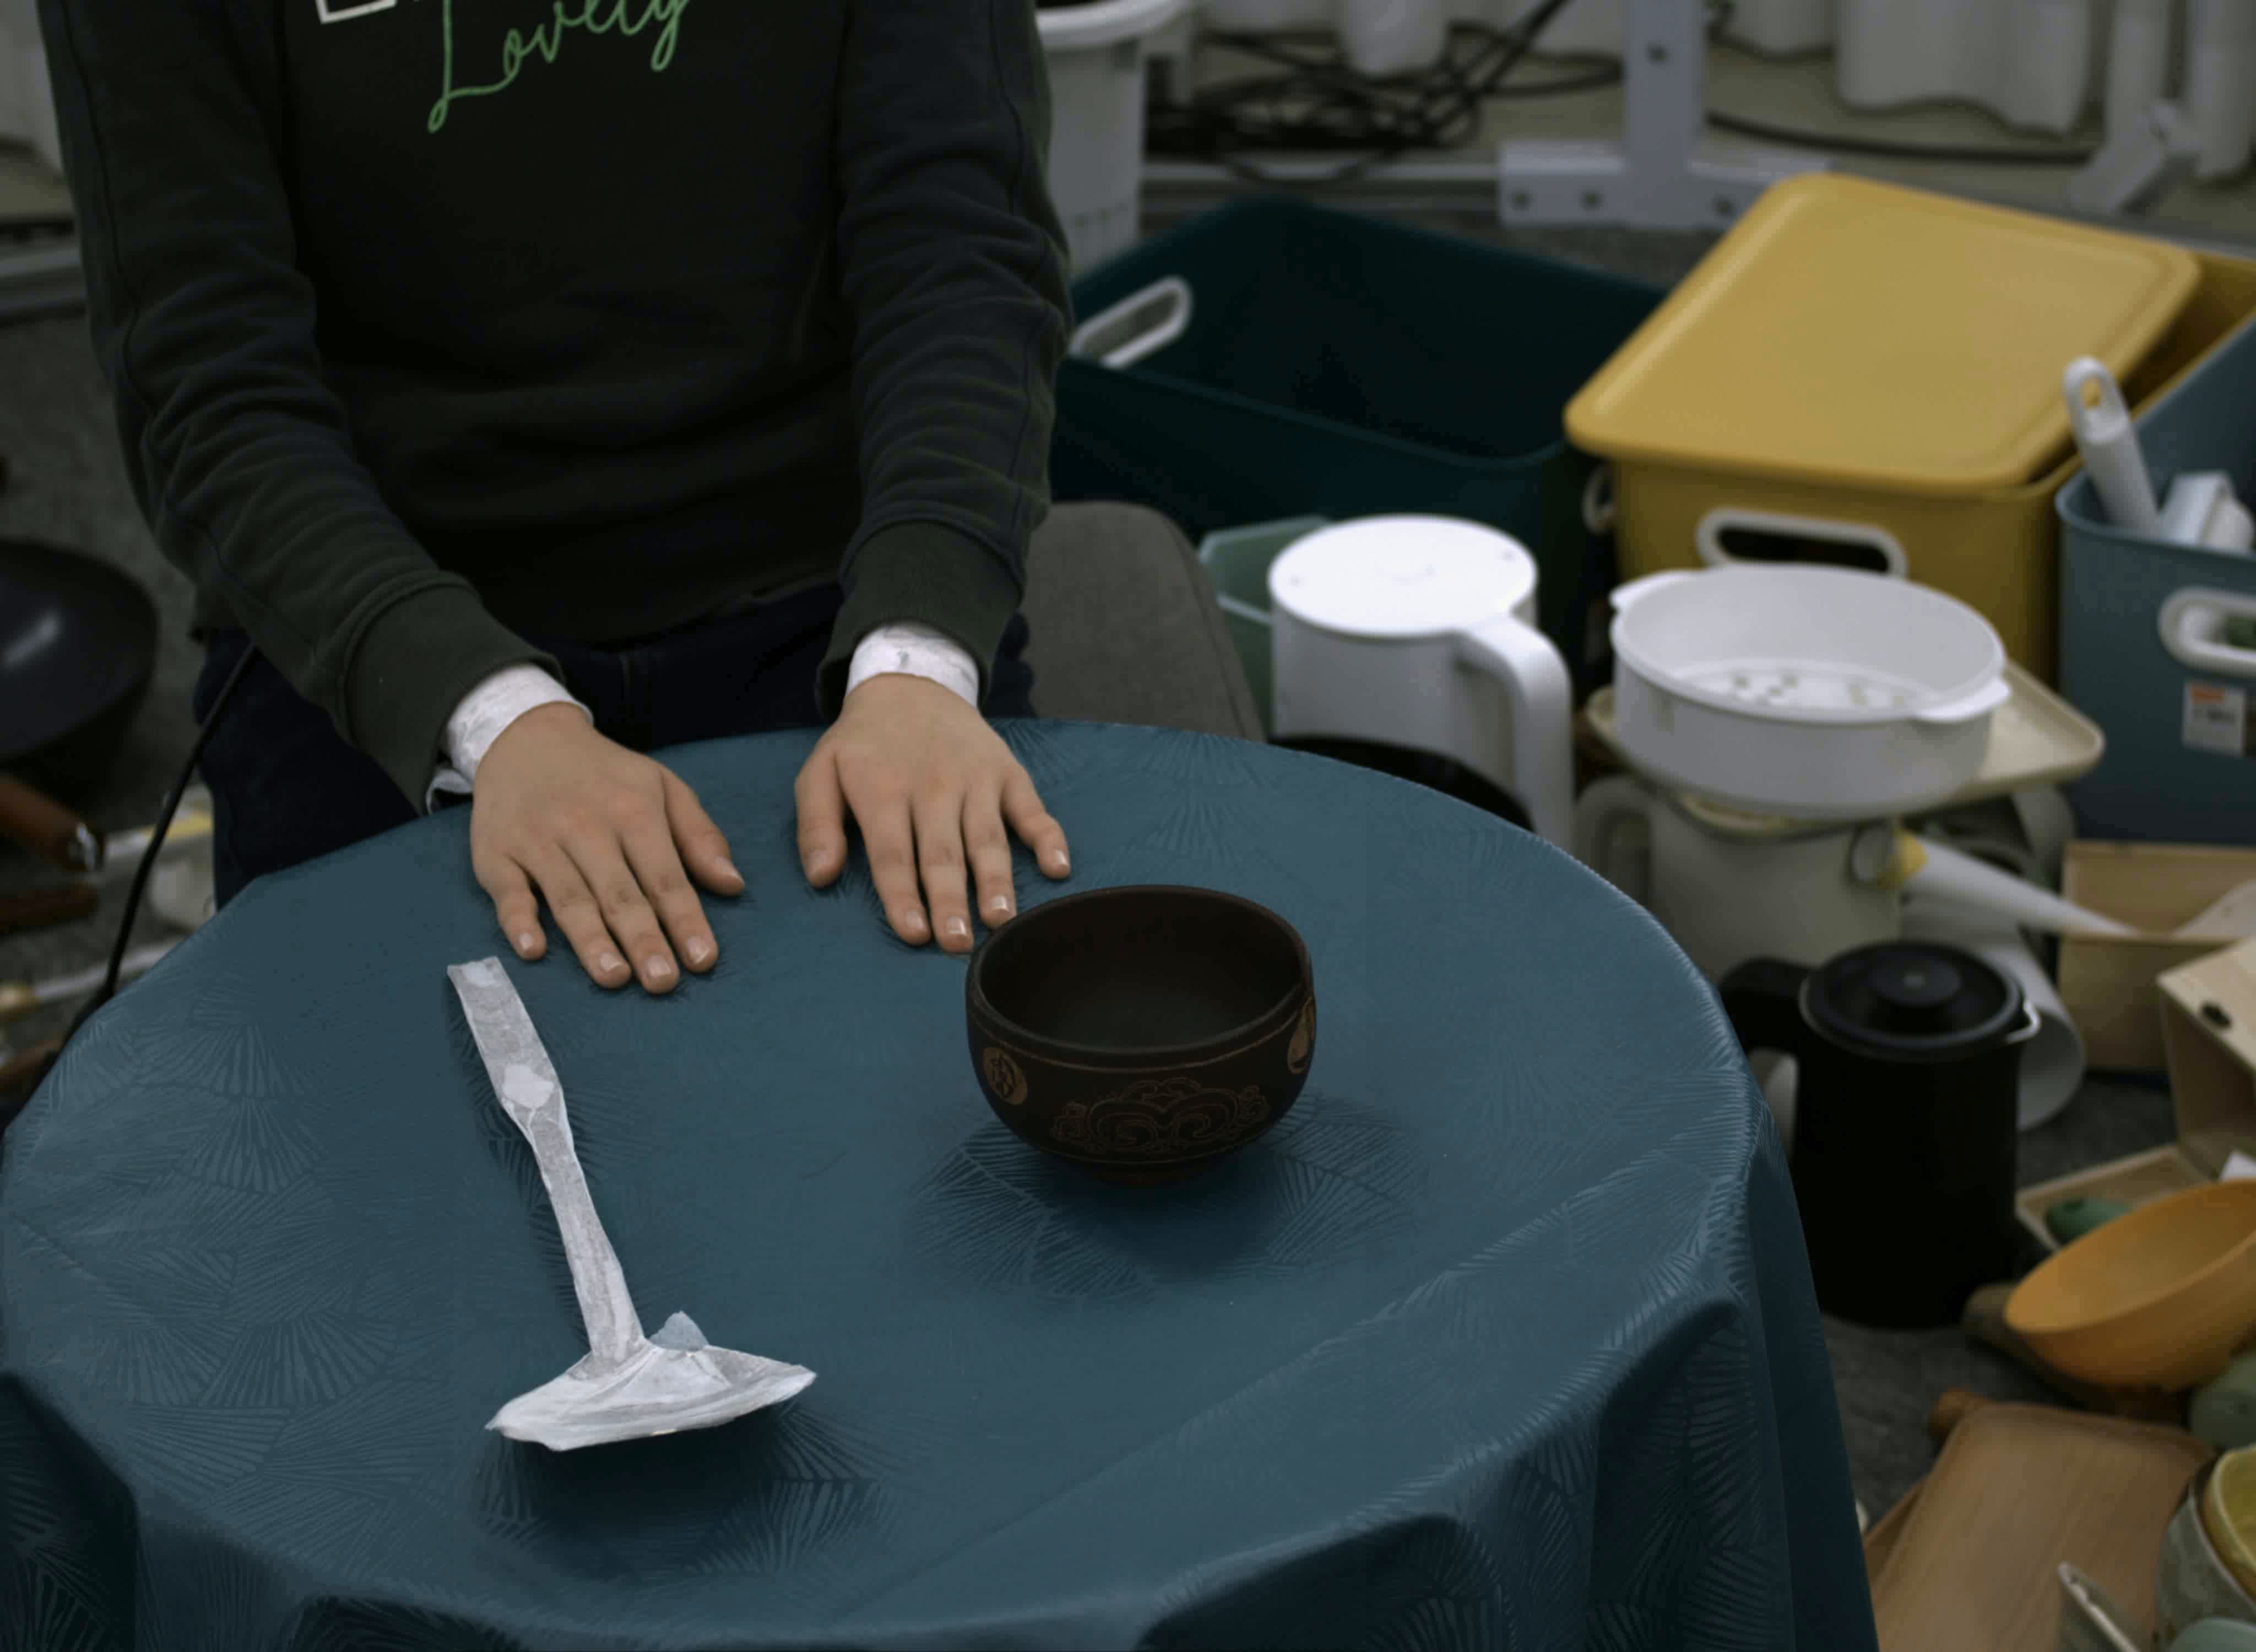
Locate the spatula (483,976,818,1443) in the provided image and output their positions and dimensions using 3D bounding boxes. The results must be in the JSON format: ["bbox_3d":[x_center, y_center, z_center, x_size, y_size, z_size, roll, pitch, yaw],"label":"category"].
[{"bbox_3d":[-0.180,0.118,1.845,0.098,0.044,0.369,-11,28,-11],"label":"spatula"}]

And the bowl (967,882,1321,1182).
[{"bbox_3d":[0.006,0.075,1.873,0.117,0.069,0.120,-1,26,1],"label":"bowl"}]
